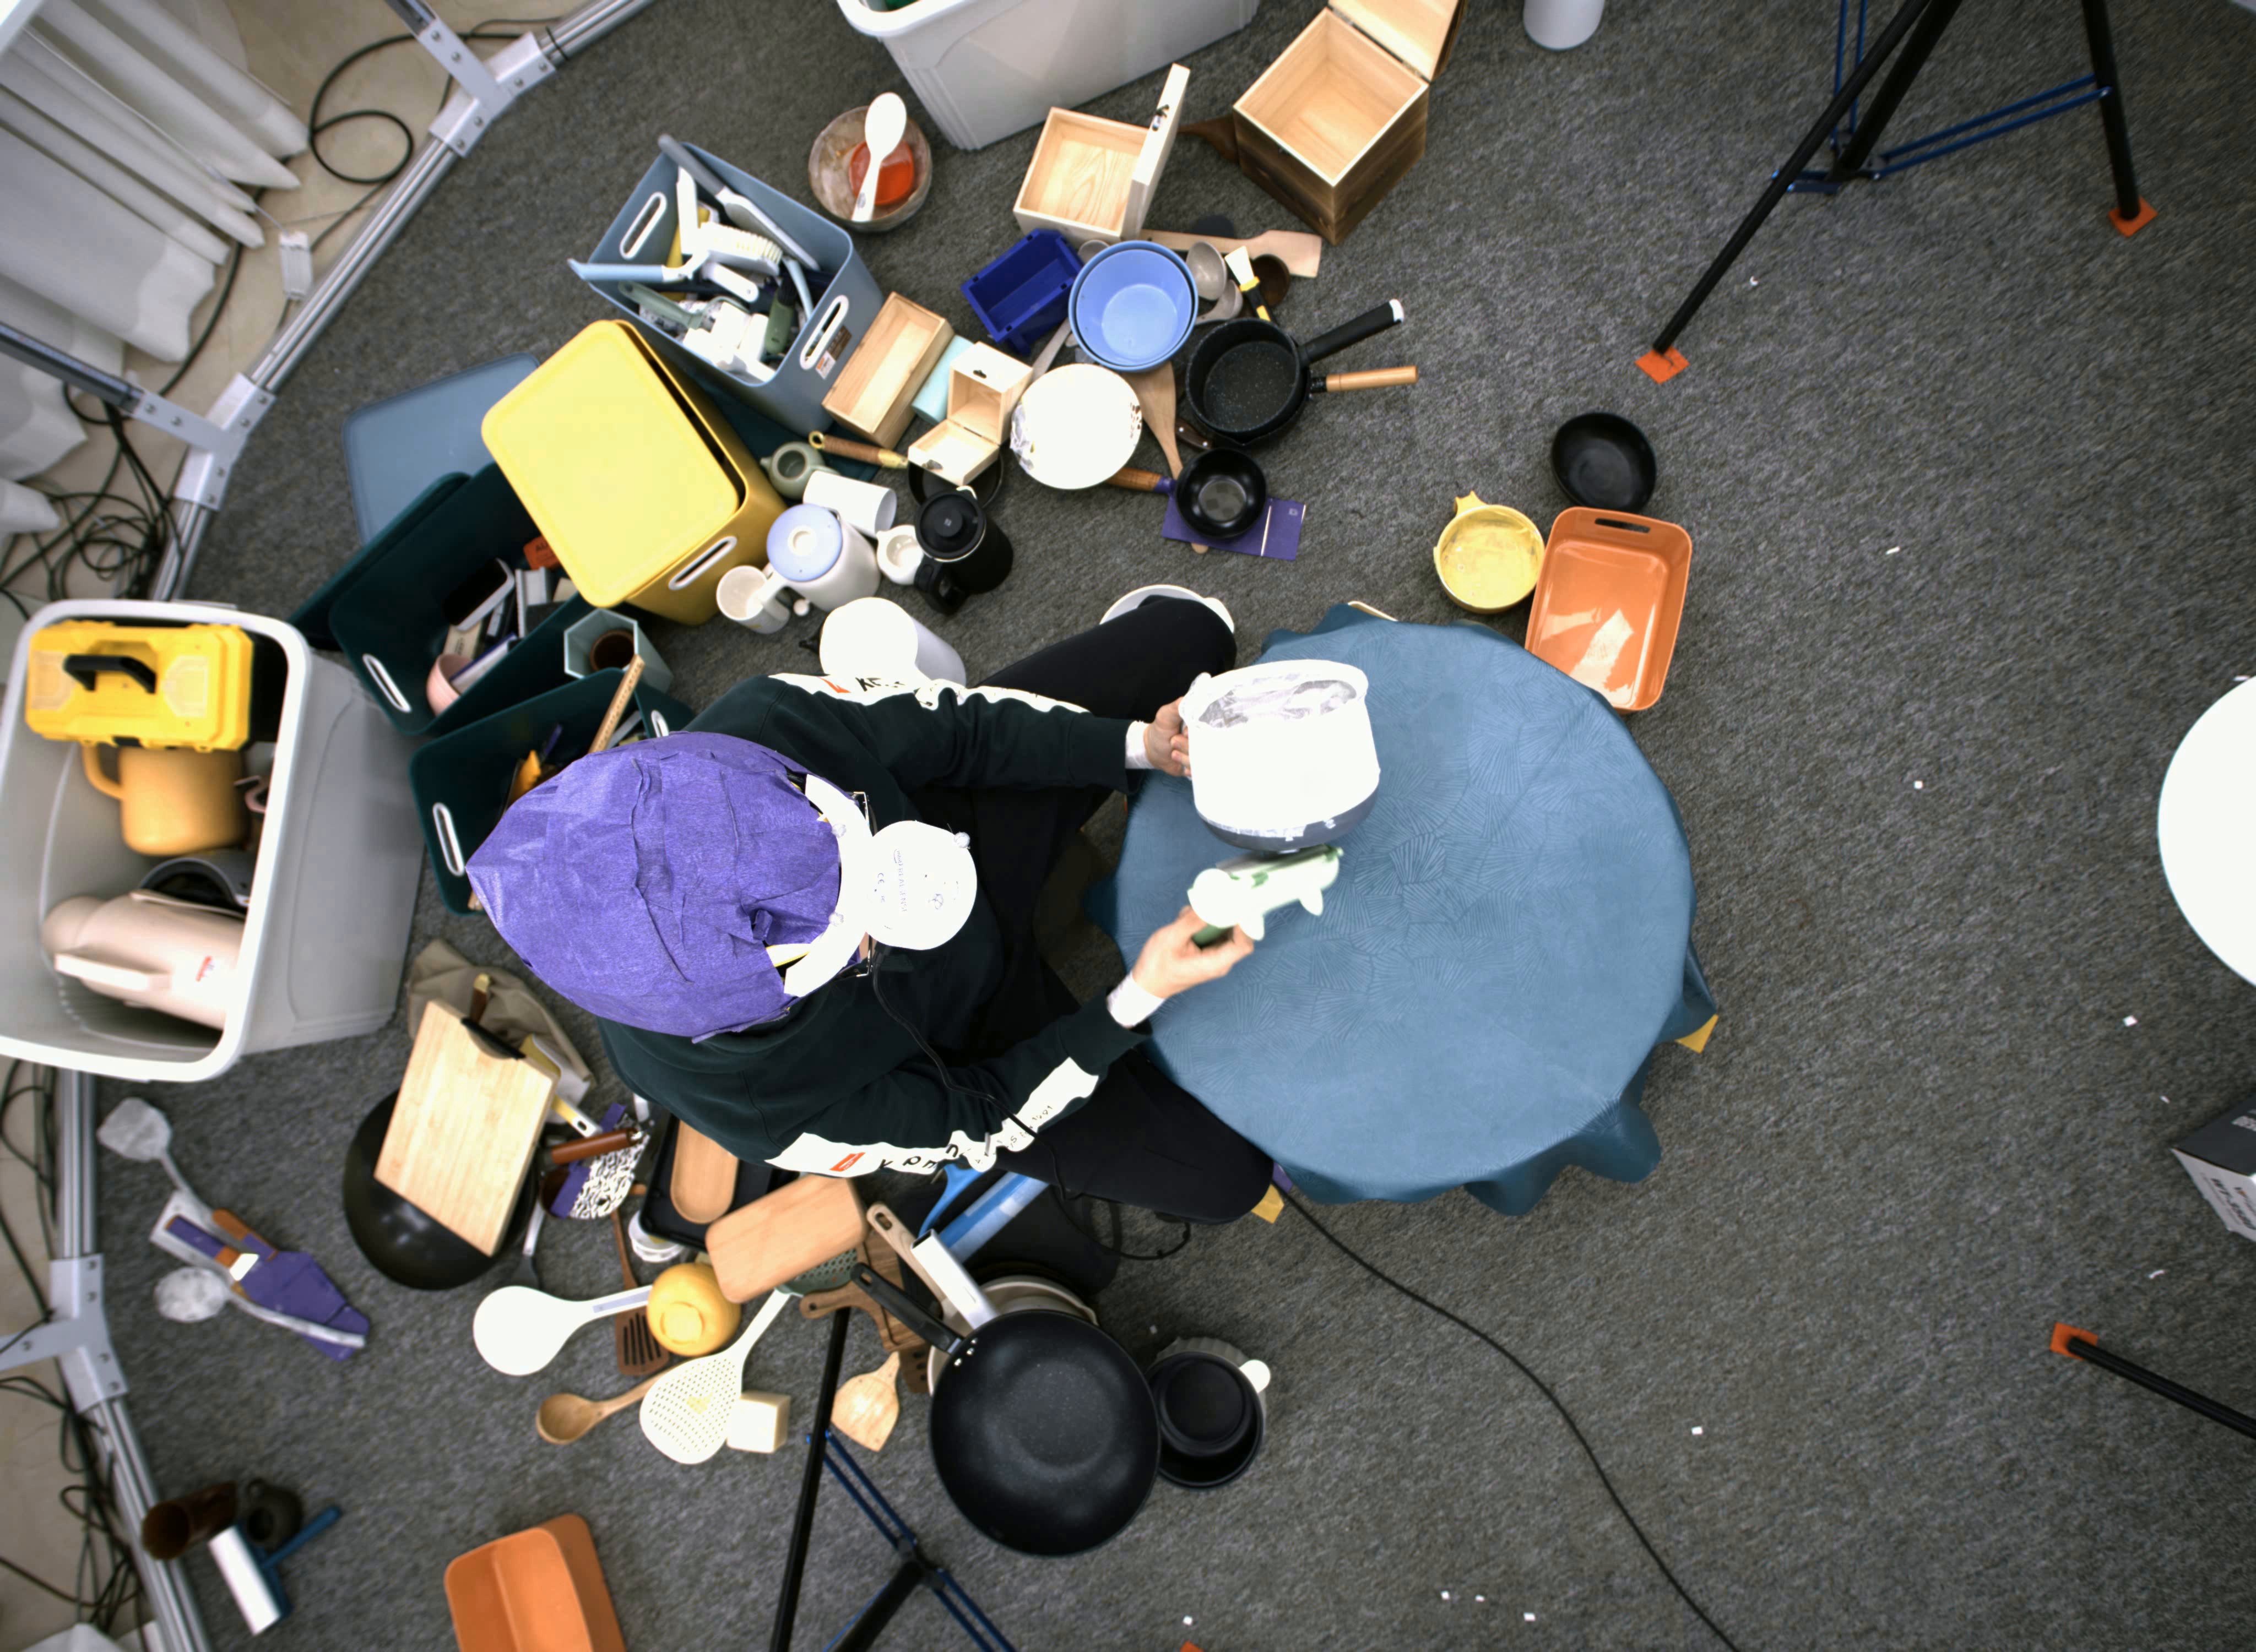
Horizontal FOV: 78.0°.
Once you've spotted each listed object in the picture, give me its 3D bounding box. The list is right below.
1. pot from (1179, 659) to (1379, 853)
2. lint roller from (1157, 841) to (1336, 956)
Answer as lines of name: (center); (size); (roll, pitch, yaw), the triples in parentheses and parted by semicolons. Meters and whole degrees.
pot: (0.128, -0.074, 1.318); (0.176, 0.233, 0.139); (-26, 120, -30)
lint roller: (0.103, 0.089, 1.348); (0.081, 0.196, 0.187); (51, 123, 16)
